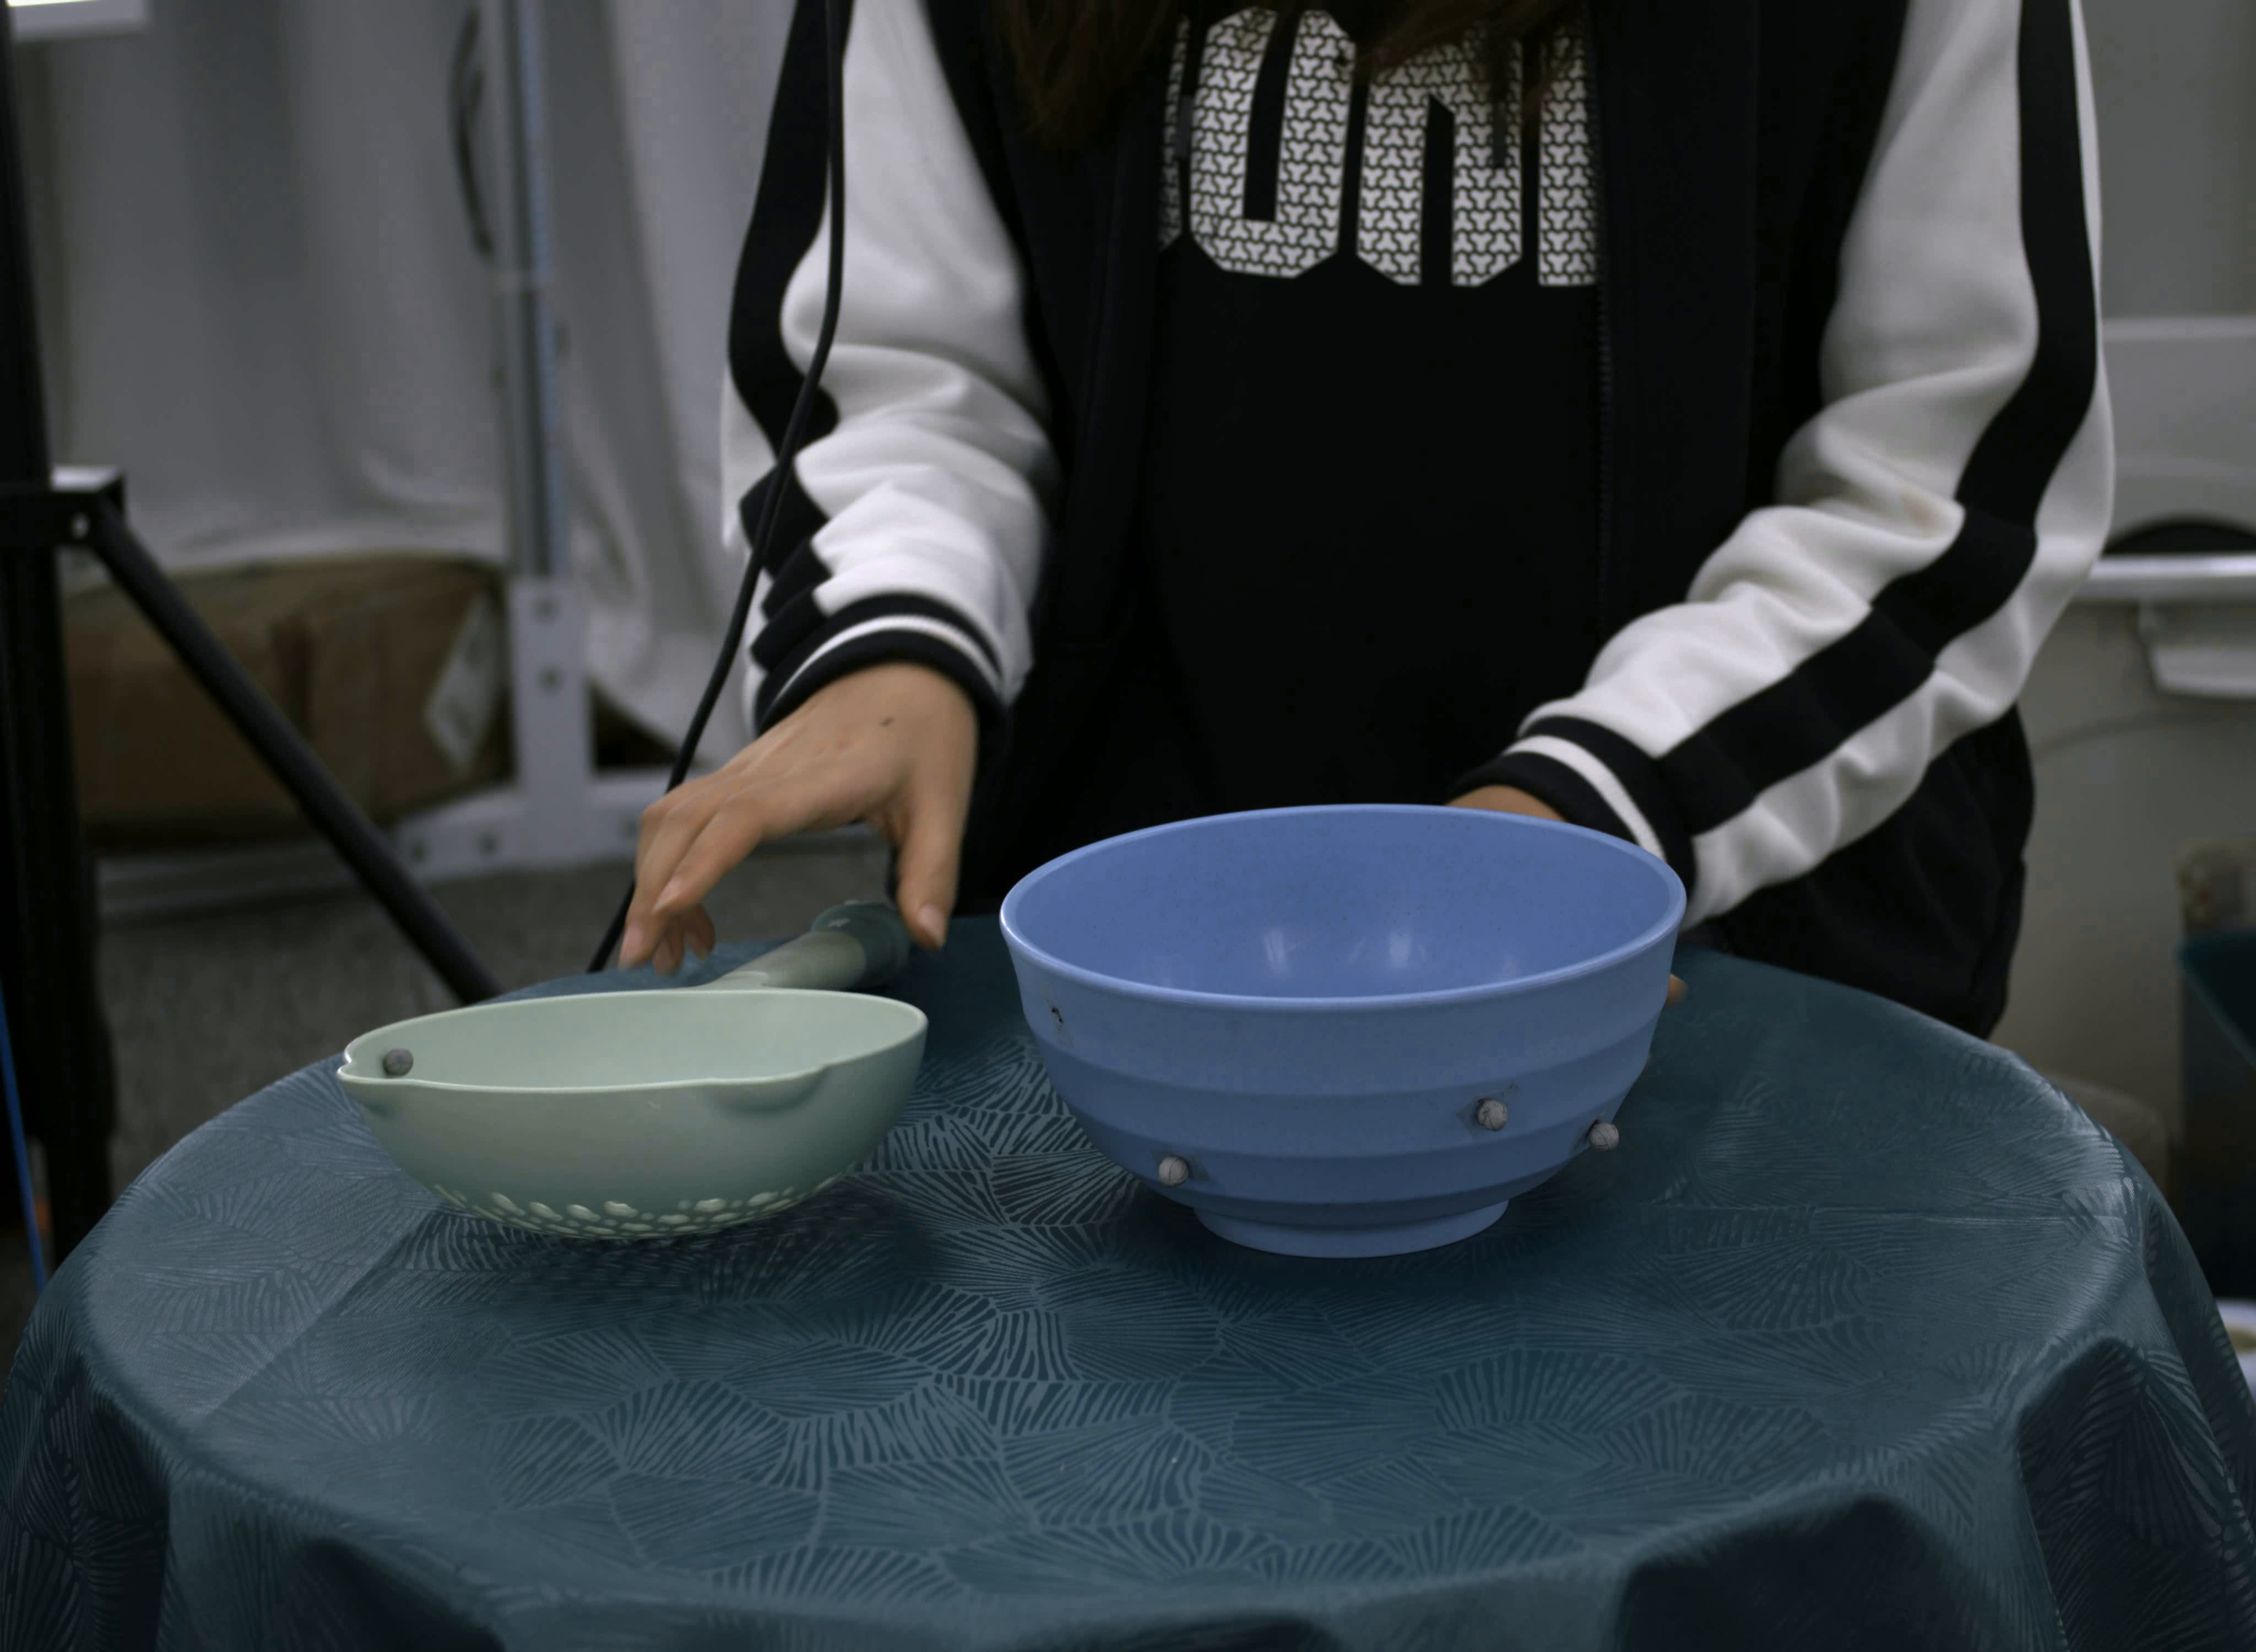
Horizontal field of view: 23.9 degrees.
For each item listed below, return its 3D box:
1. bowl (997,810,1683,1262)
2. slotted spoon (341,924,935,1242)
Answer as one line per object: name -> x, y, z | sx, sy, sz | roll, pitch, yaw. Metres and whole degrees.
bowl -> 0.062, 0.066, 1.525 | 0.195, 0.095, 0.197 | -3, 15, -1
slotted spoon -> -0.118, 0.063, 1.631 | 0.170, 0.075, 0.356 | 1, 14, 14
